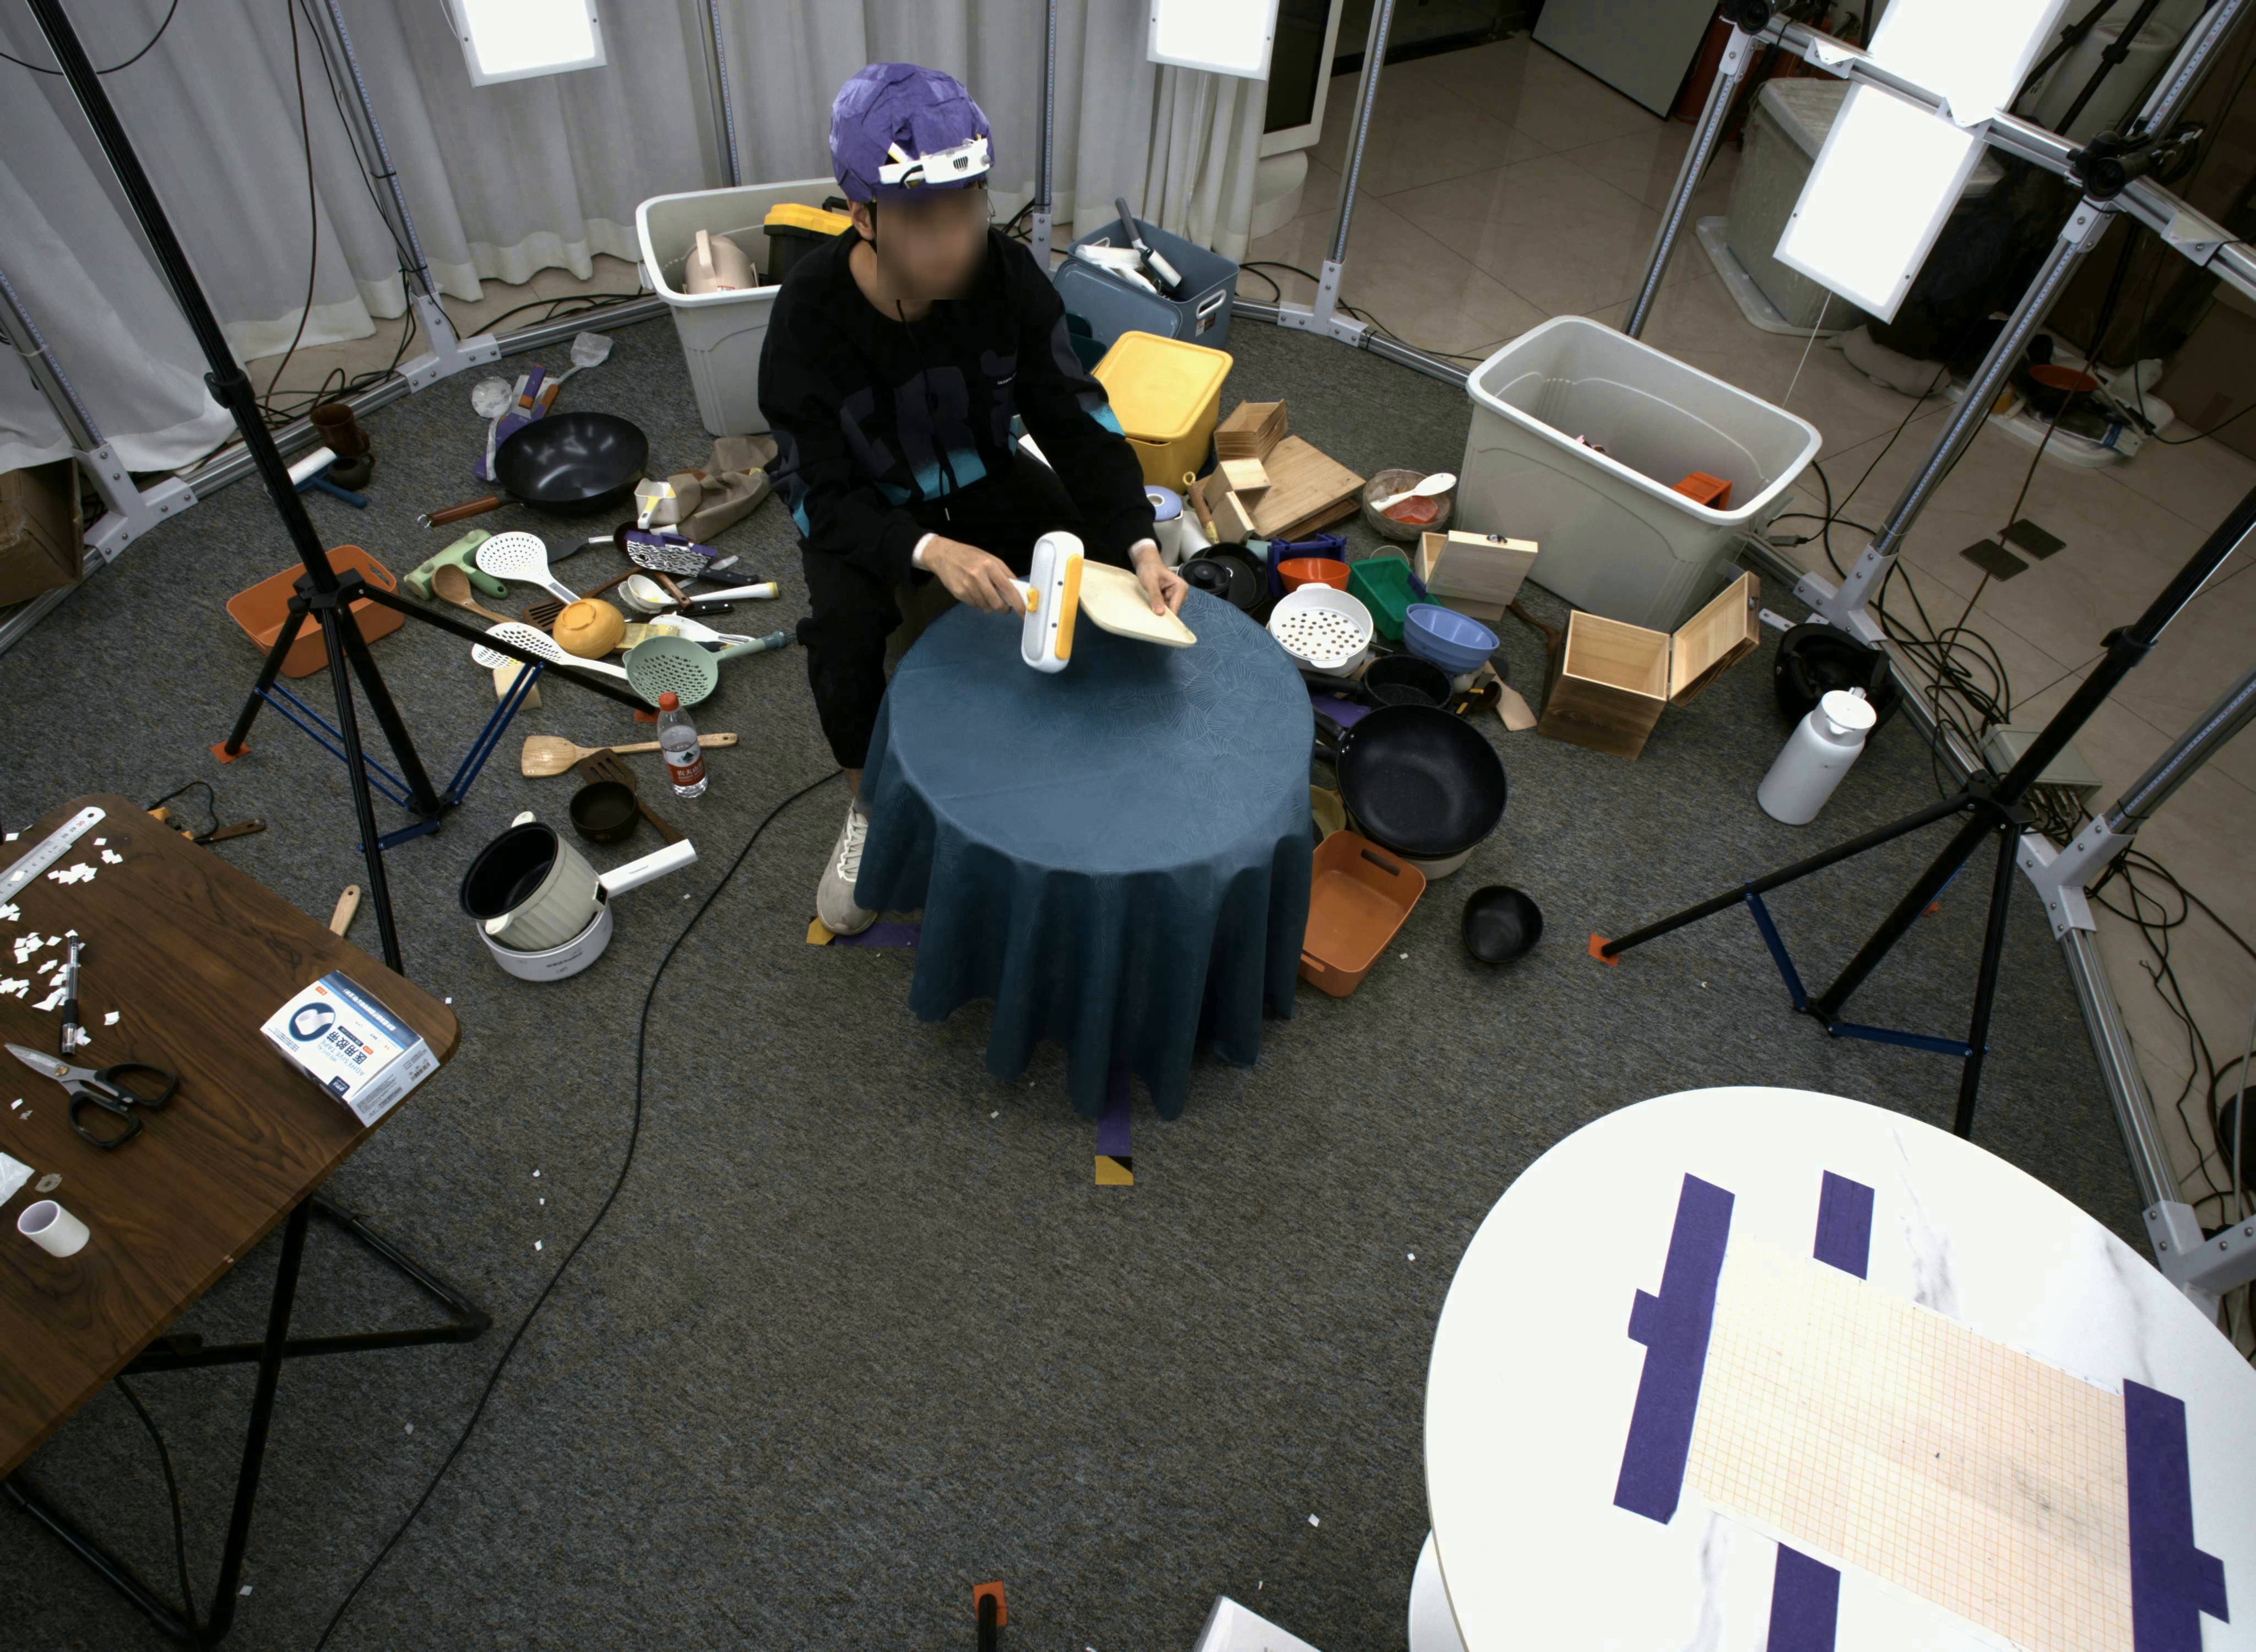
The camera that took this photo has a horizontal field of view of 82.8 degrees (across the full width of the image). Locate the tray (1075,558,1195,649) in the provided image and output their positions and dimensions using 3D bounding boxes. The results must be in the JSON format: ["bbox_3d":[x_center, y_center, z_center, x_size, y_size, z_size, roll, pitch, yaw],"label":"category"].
[{"bbox_3d":[-0.016,-0.322,1.841,0.170,0.017,0.245,7,31,-31],"label":"tray"}]

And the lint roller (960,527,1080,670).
[{"bbox_3d":[-0.151,-0.323,1.795,0.194,0.190,0.074,17,21,40],"label":"lint roller"}]
